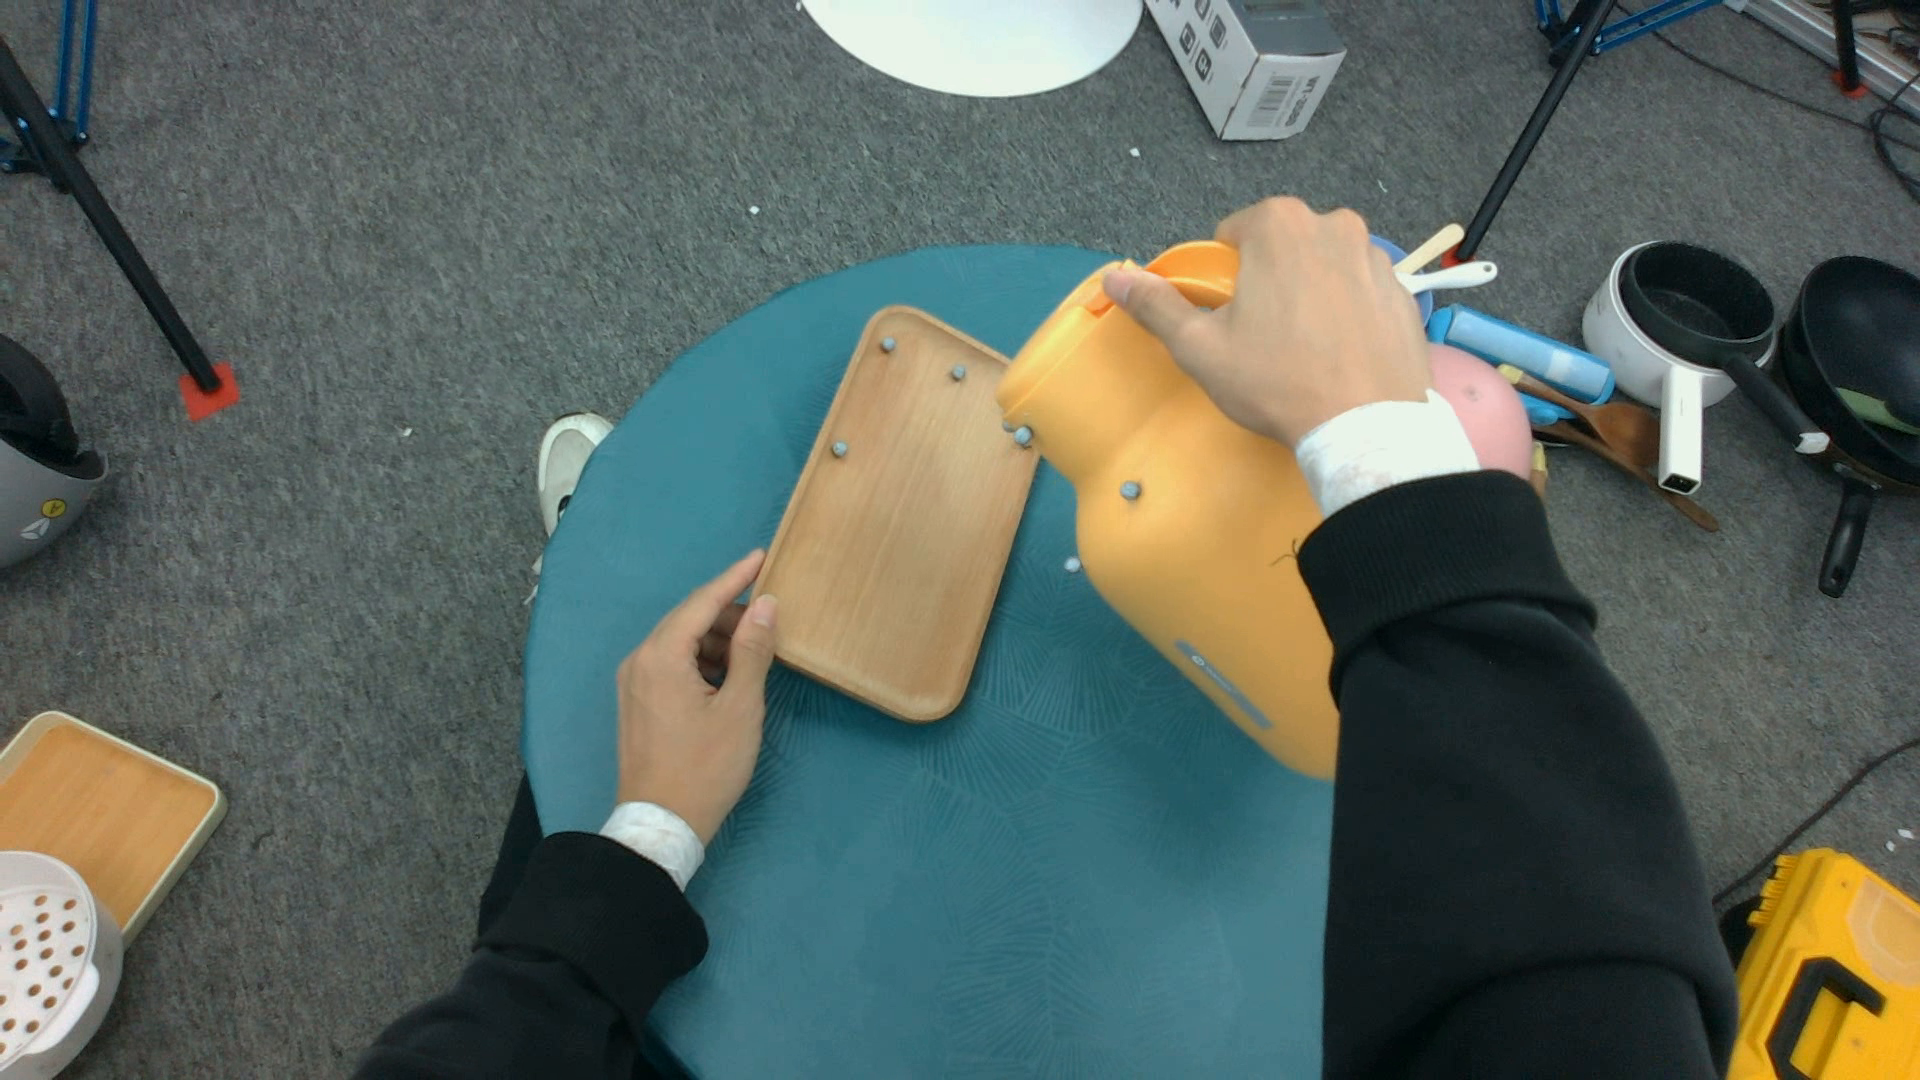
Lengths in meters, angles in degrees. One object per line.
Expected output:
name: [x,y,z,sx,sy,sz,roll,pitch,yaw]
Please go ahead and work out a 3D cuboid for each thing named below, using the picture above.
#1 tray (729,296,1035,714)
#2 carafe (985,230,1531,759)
tray: [-0.036,-0.026,0.778,0.130,0.023,0.252,26,57,-10]
carafe: [0.139,-0.029,0.644,0.260,0.201,0.164,40,65,-7]
